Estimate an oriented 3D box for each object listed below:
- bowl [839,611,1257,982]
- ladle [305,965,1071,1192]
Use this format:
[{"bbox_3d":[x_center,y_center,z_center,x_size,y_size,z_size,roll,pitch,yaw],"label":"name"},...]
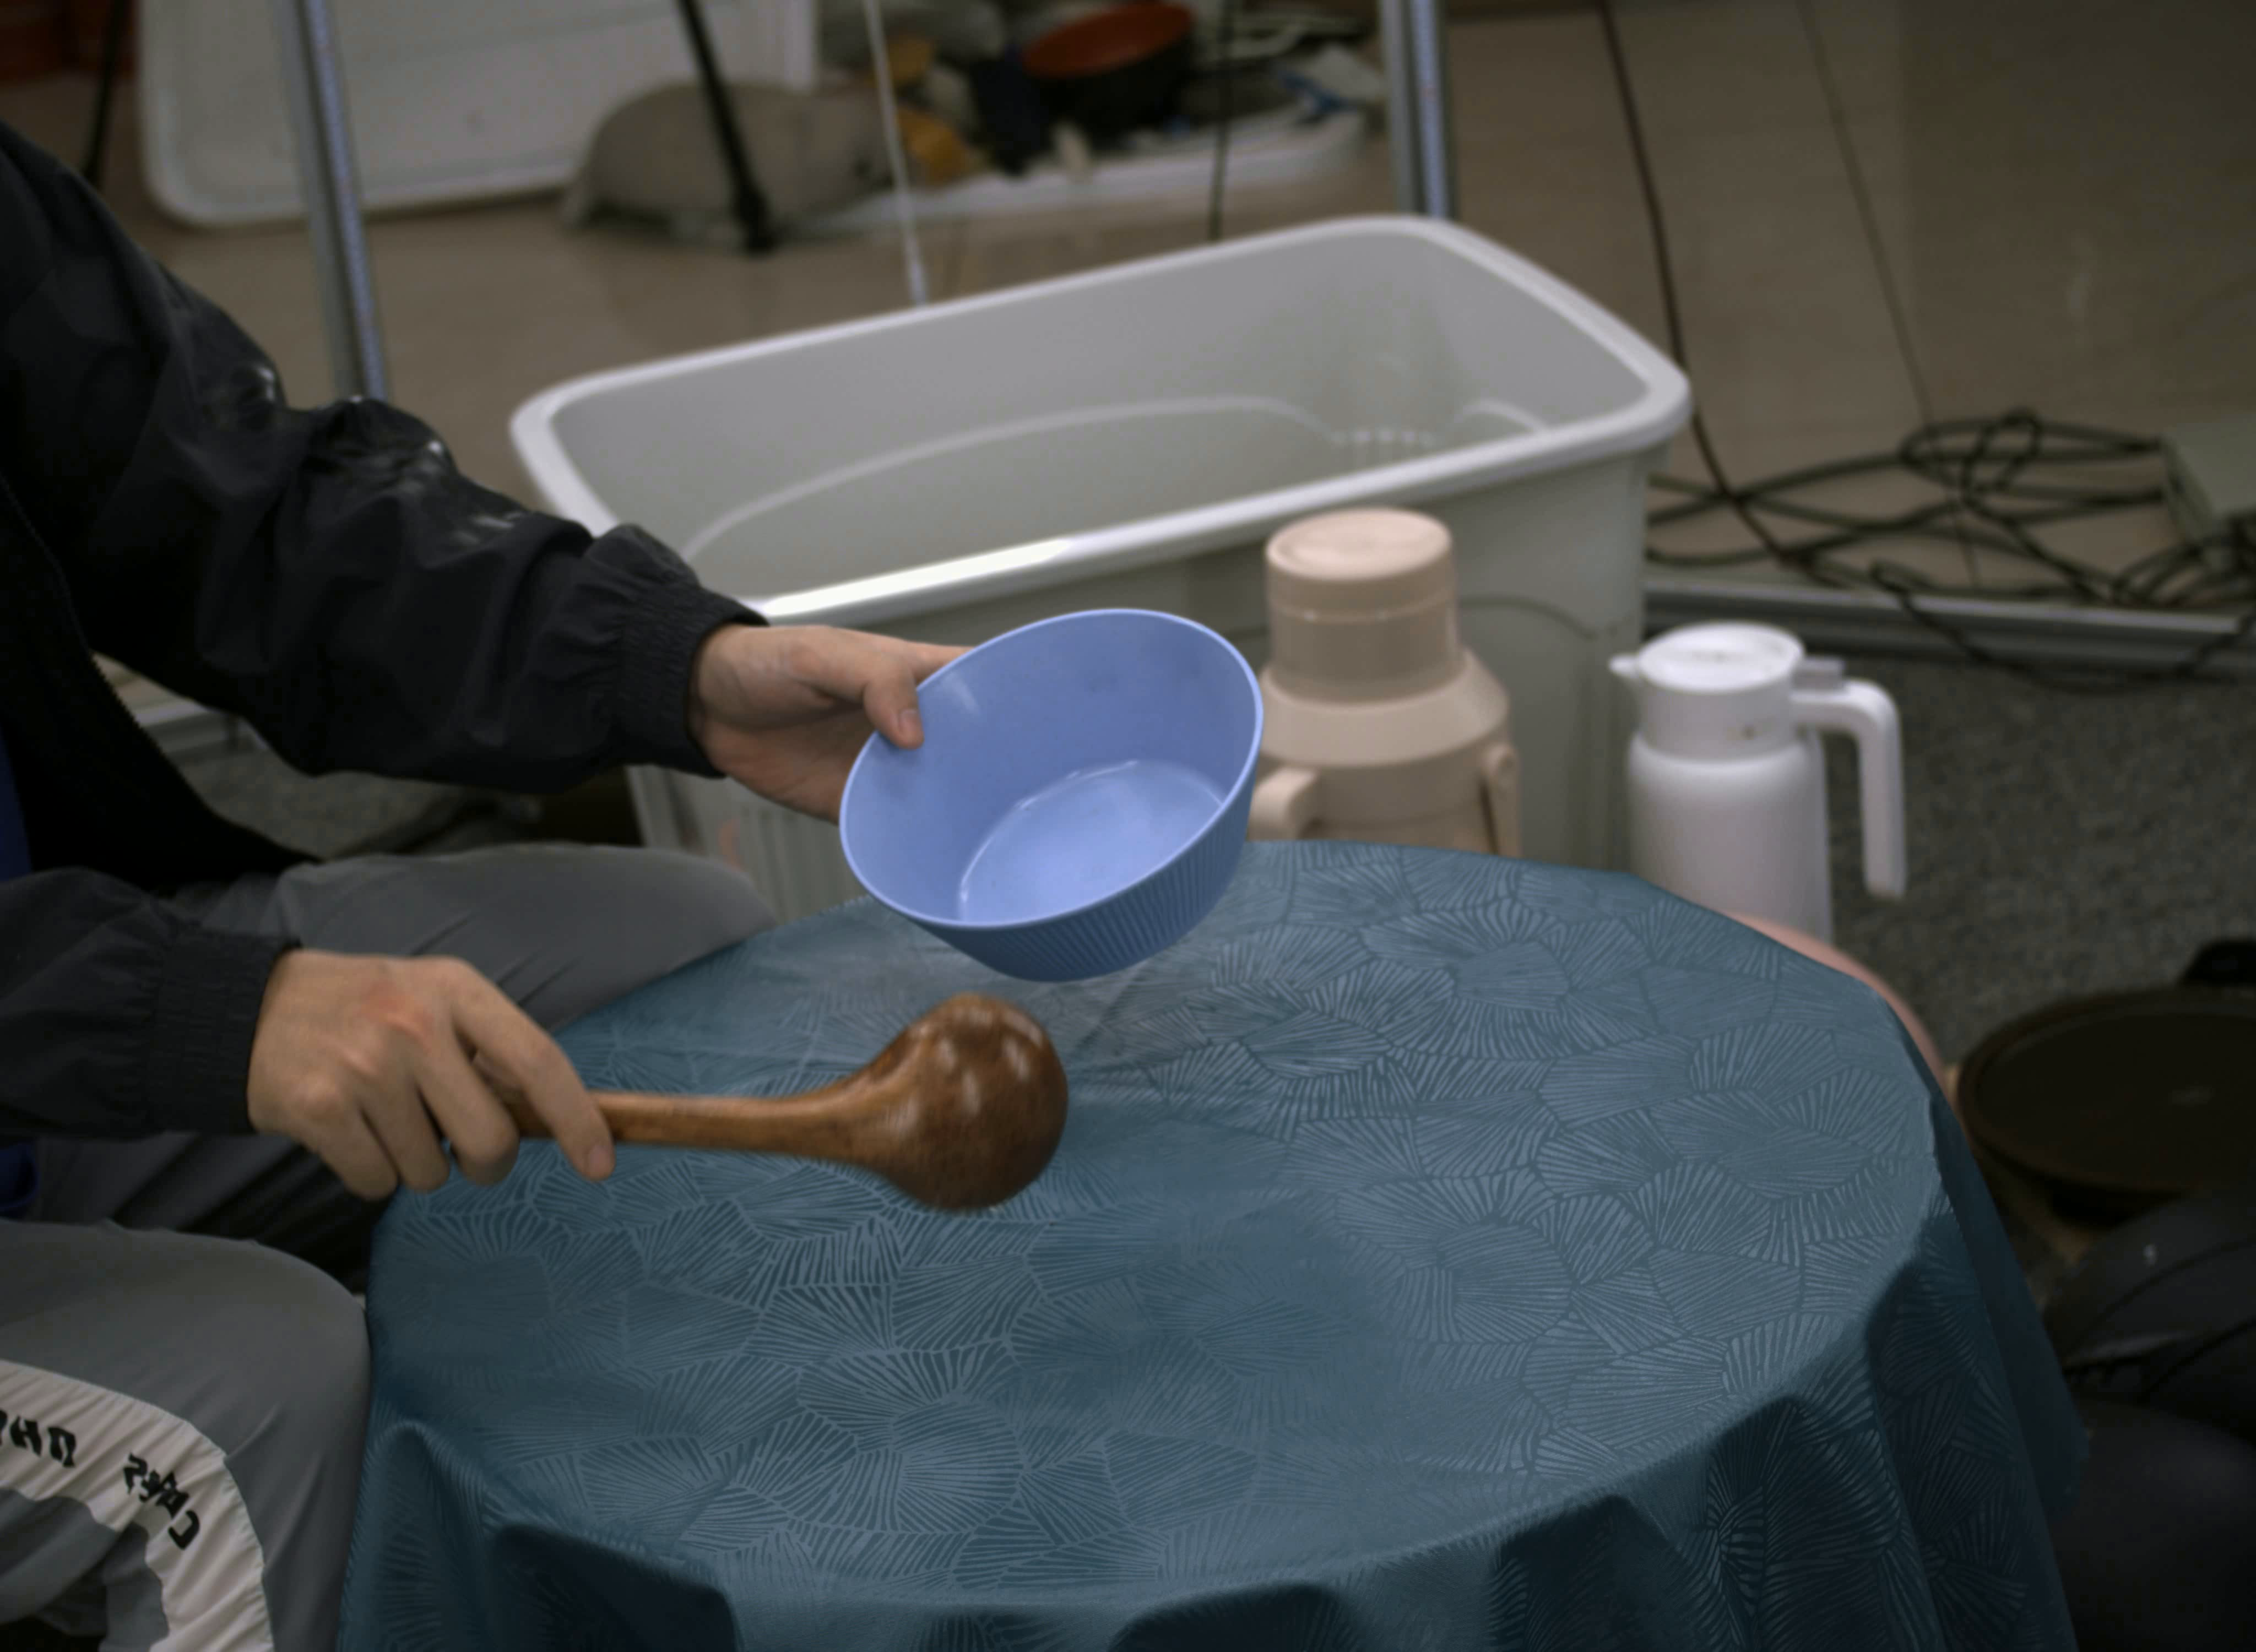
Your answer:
[{"bbox_3d":[-0.022,-0.002,2.234,0.176,0.071,0.173,-15,42,14],"label":"bowl"},{"bbox_3d":[-0.157,0.094,2.054,0.273,0.082,0.076,-2,8,13],"label":"ladle"}]
